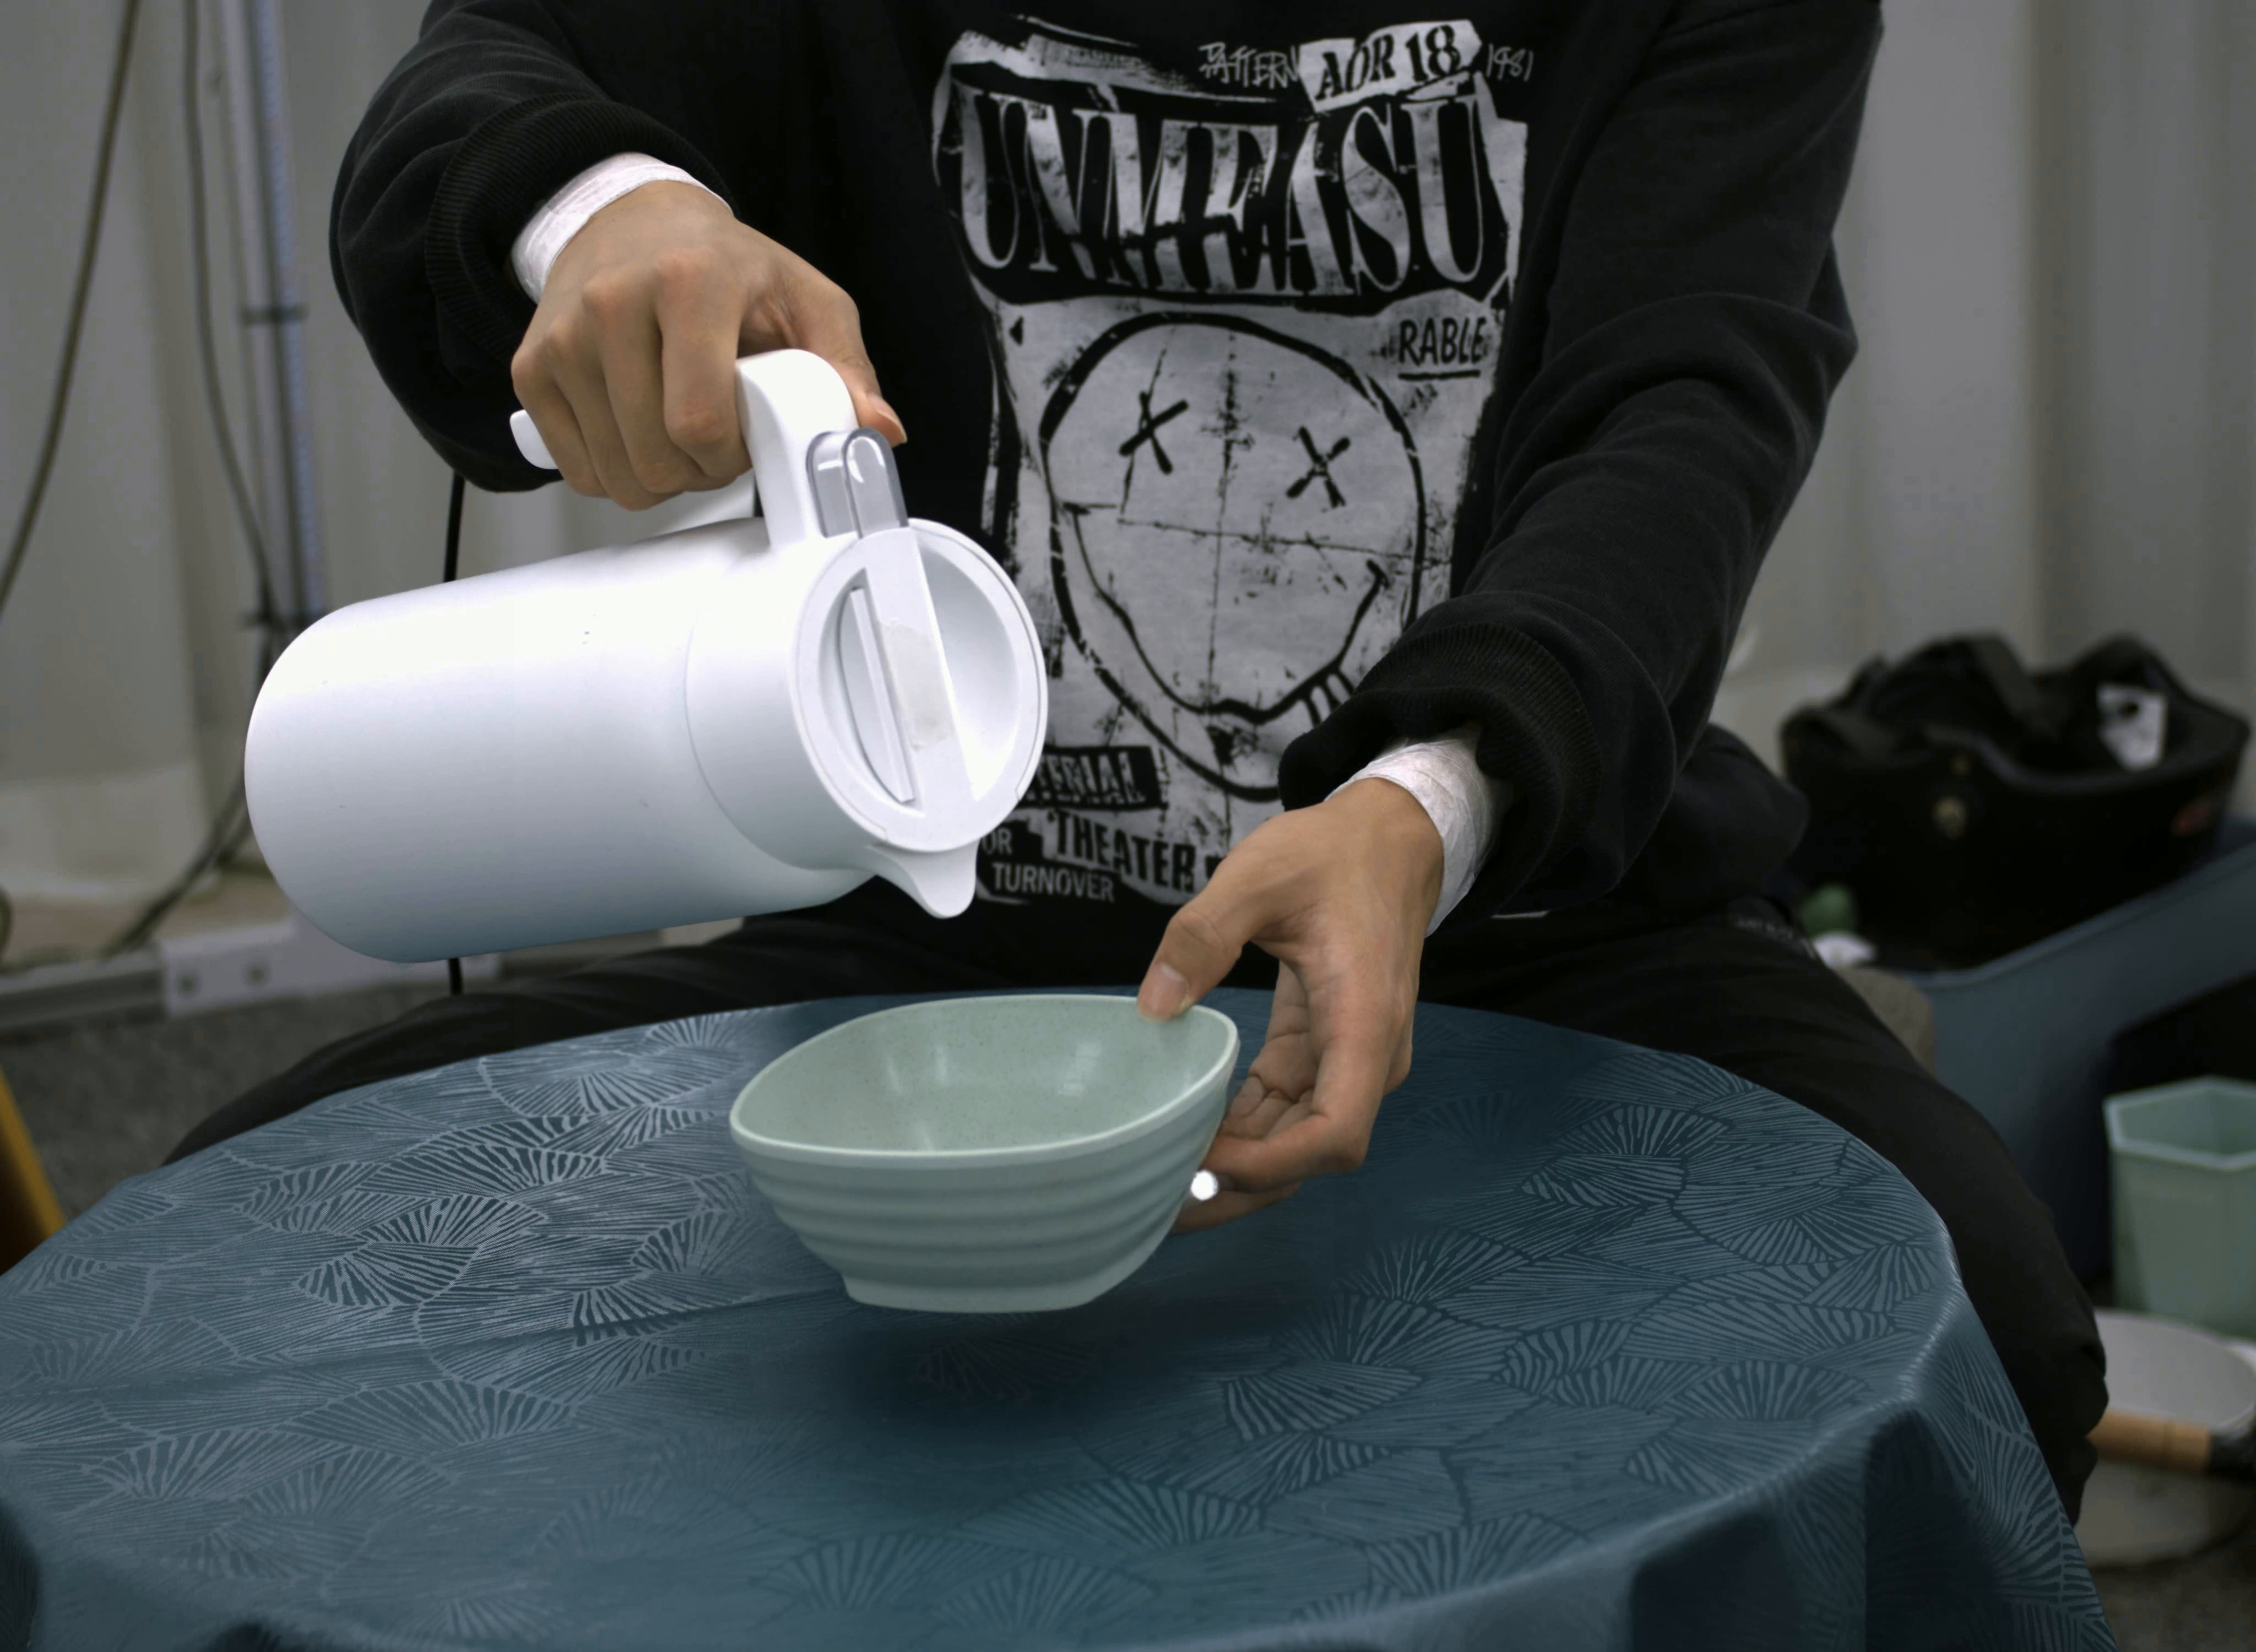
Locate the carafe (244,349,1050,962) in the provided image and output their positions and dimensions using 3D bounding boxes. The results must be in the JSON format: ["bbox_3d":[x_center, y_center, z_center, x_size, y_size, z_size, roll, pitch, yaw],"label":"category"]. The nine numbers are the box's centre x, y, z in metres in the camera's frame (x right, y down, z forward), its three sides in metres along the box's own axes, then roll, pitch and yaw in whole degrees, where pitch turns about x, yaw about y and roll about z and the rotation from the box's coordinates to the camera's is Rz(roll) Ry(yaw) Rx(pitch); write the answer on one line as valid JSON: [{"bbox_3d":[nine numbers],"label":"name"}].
[{"bbox_3d":[-0.153,-0.044,1.656,0.123,0.173,0.269,-18,6,-41],"label":"carafe"}]

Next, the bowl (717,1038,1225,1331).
[{"bbox_3d":[-0.042,0.104,1.553,0.151,0.058,0.152,-5,10,1],"label":"bowl"}]
